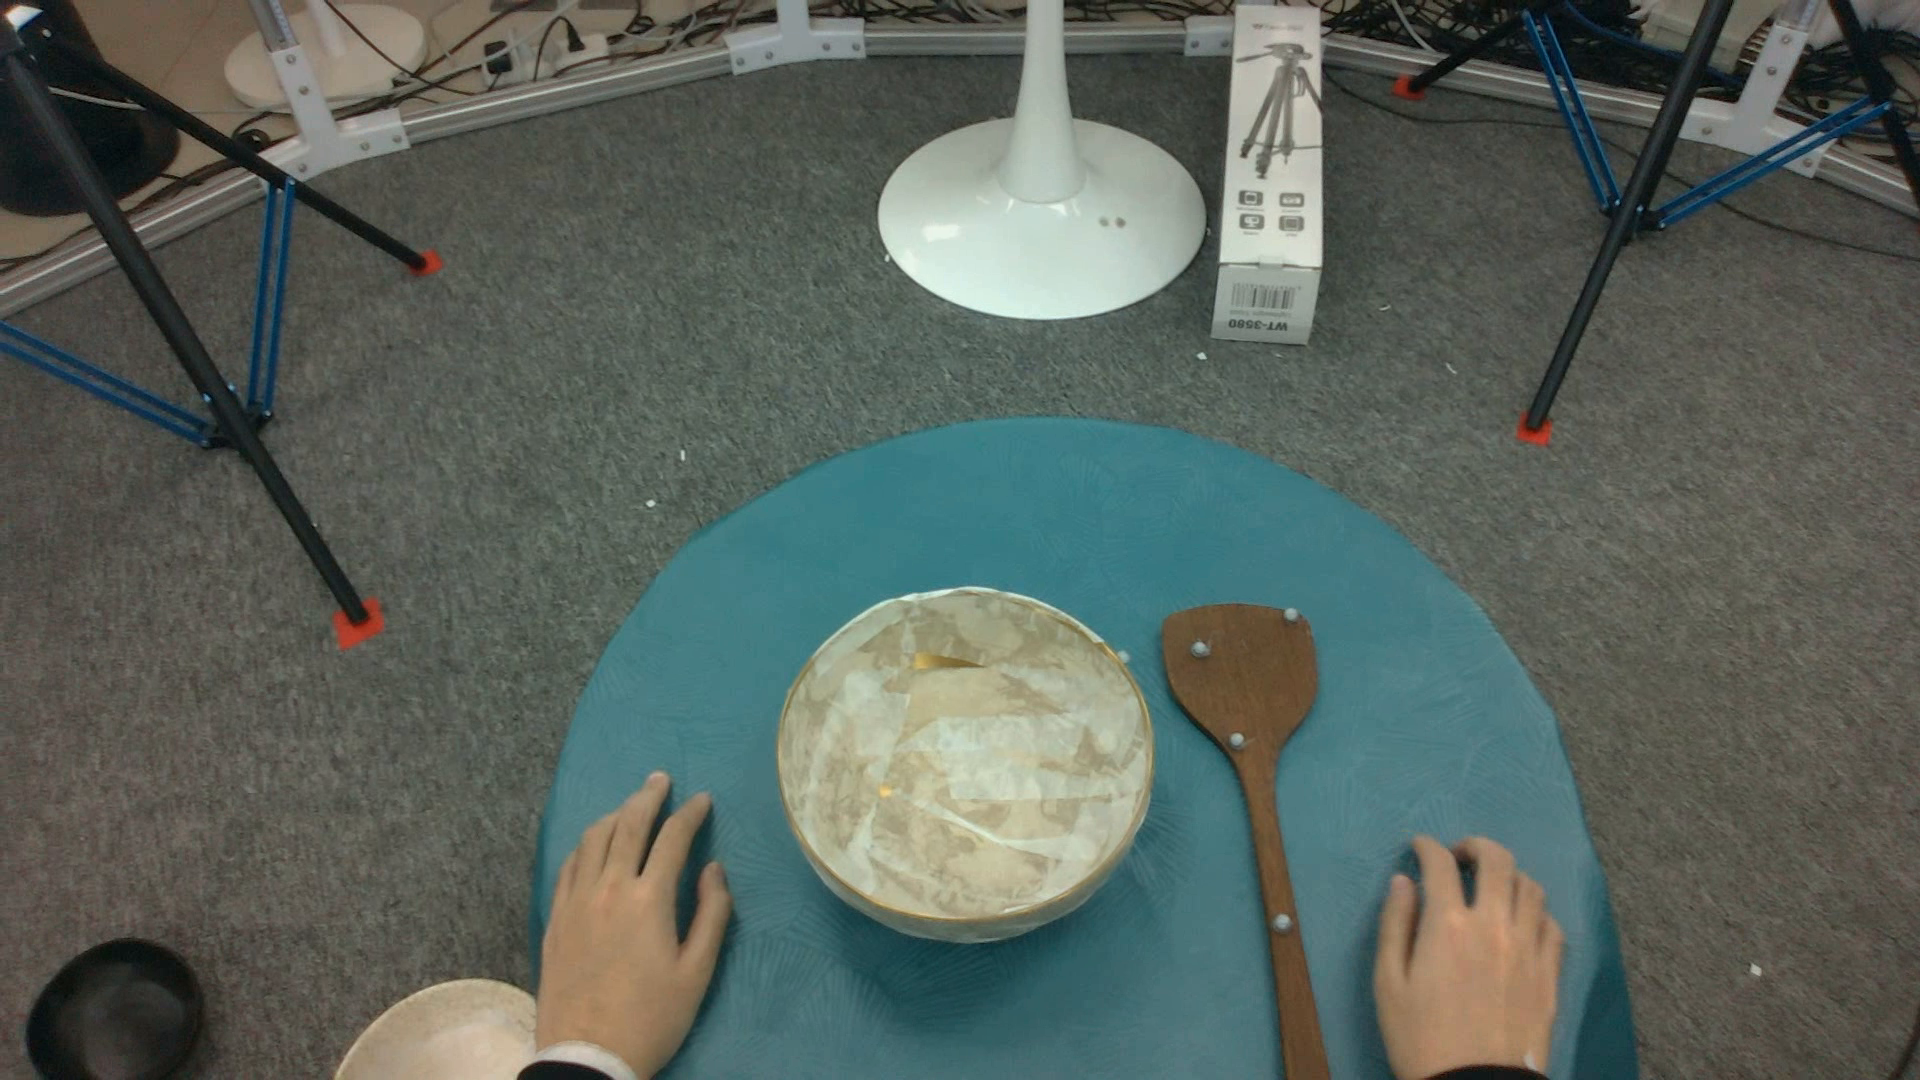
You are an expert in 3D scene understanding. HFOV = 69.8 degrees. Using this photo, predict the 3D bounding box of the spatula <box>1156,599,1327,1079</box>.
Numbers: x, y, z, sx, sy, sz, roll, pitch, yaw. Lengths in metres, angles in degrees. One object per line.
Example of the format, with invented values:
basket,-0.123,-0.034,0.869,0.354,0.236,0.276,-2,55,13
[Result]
spatula,0.170,0.187,0.752,0.096,0.016,0.388,-1,50,1

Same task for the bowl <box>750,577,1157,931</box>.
bowl,-0.002,0.129,0.752,0.215,0.094,0.215,1,51,-1
